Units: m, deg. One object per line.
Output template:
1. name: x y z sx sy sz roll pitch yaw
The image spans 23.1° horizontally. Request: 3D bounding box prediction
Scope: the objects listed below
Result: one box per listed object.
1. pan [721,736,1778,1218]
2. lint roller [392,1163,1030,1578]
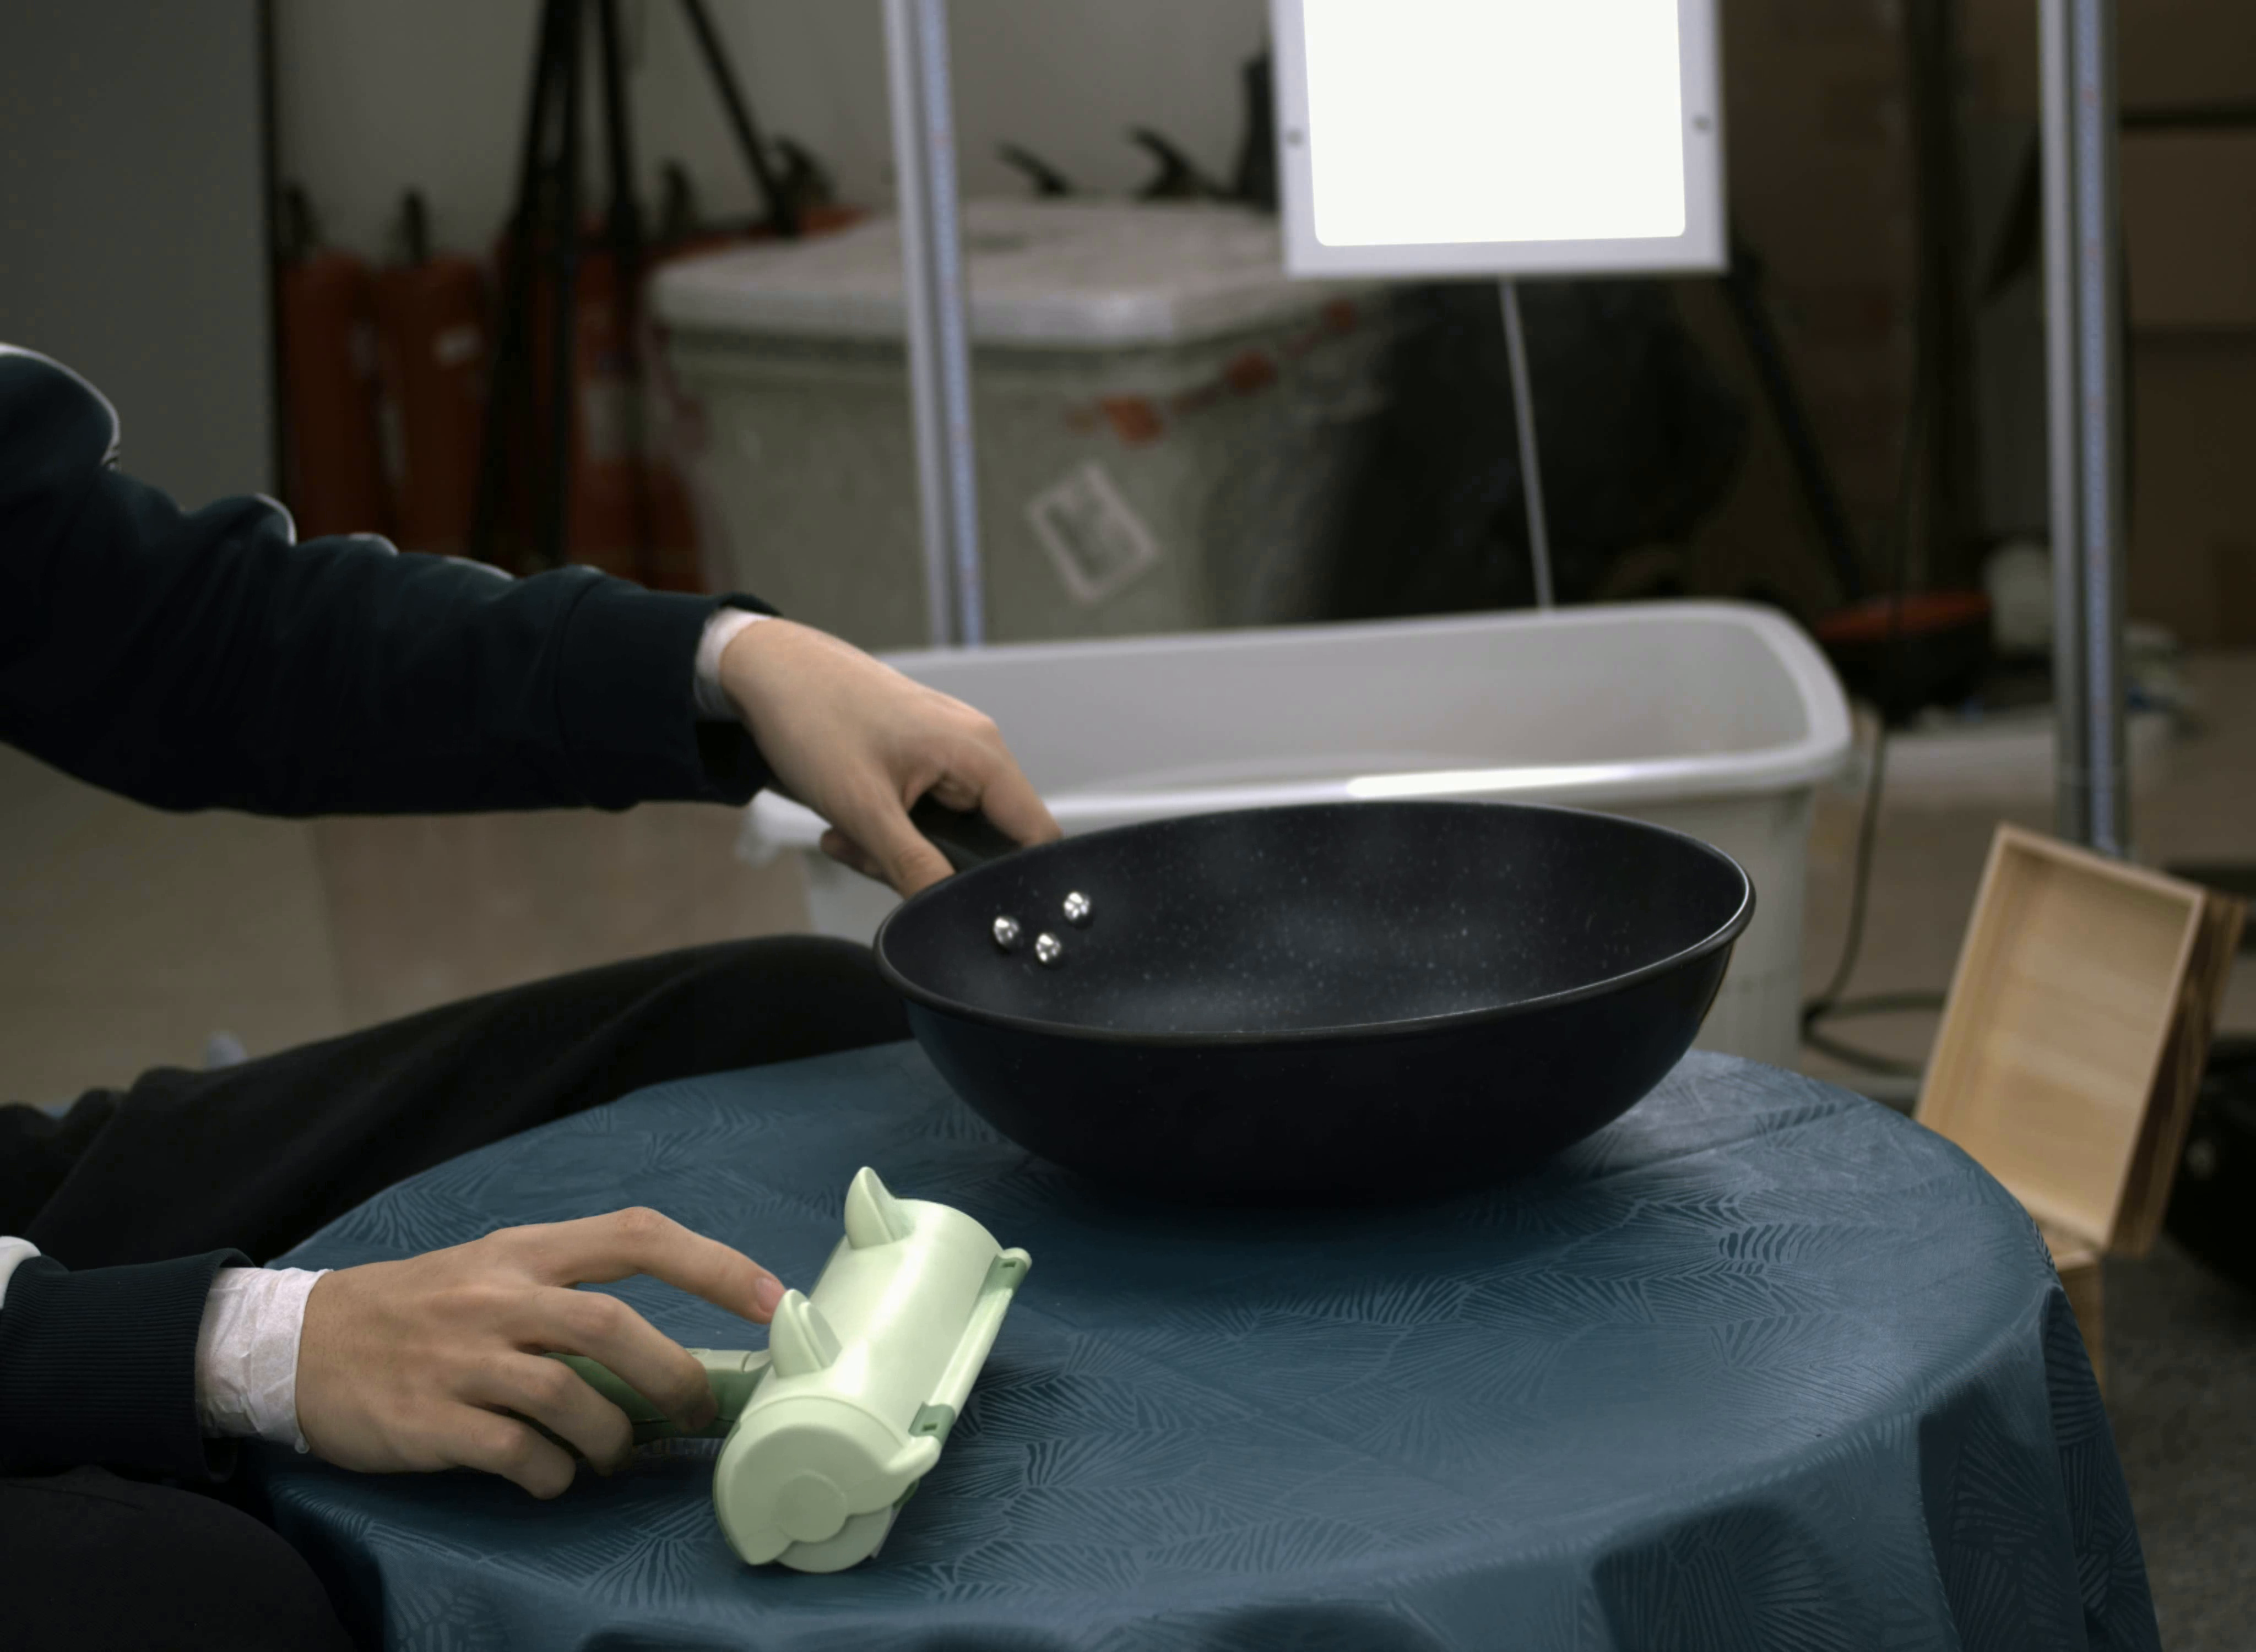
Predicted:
1. pan: 0.015 0.050 1.978 0.302 0.112 0.487 -15 17 -41
2. lint roller: -0.133 0.156 1.661 0.184 0.082 0.196 2 15 9
